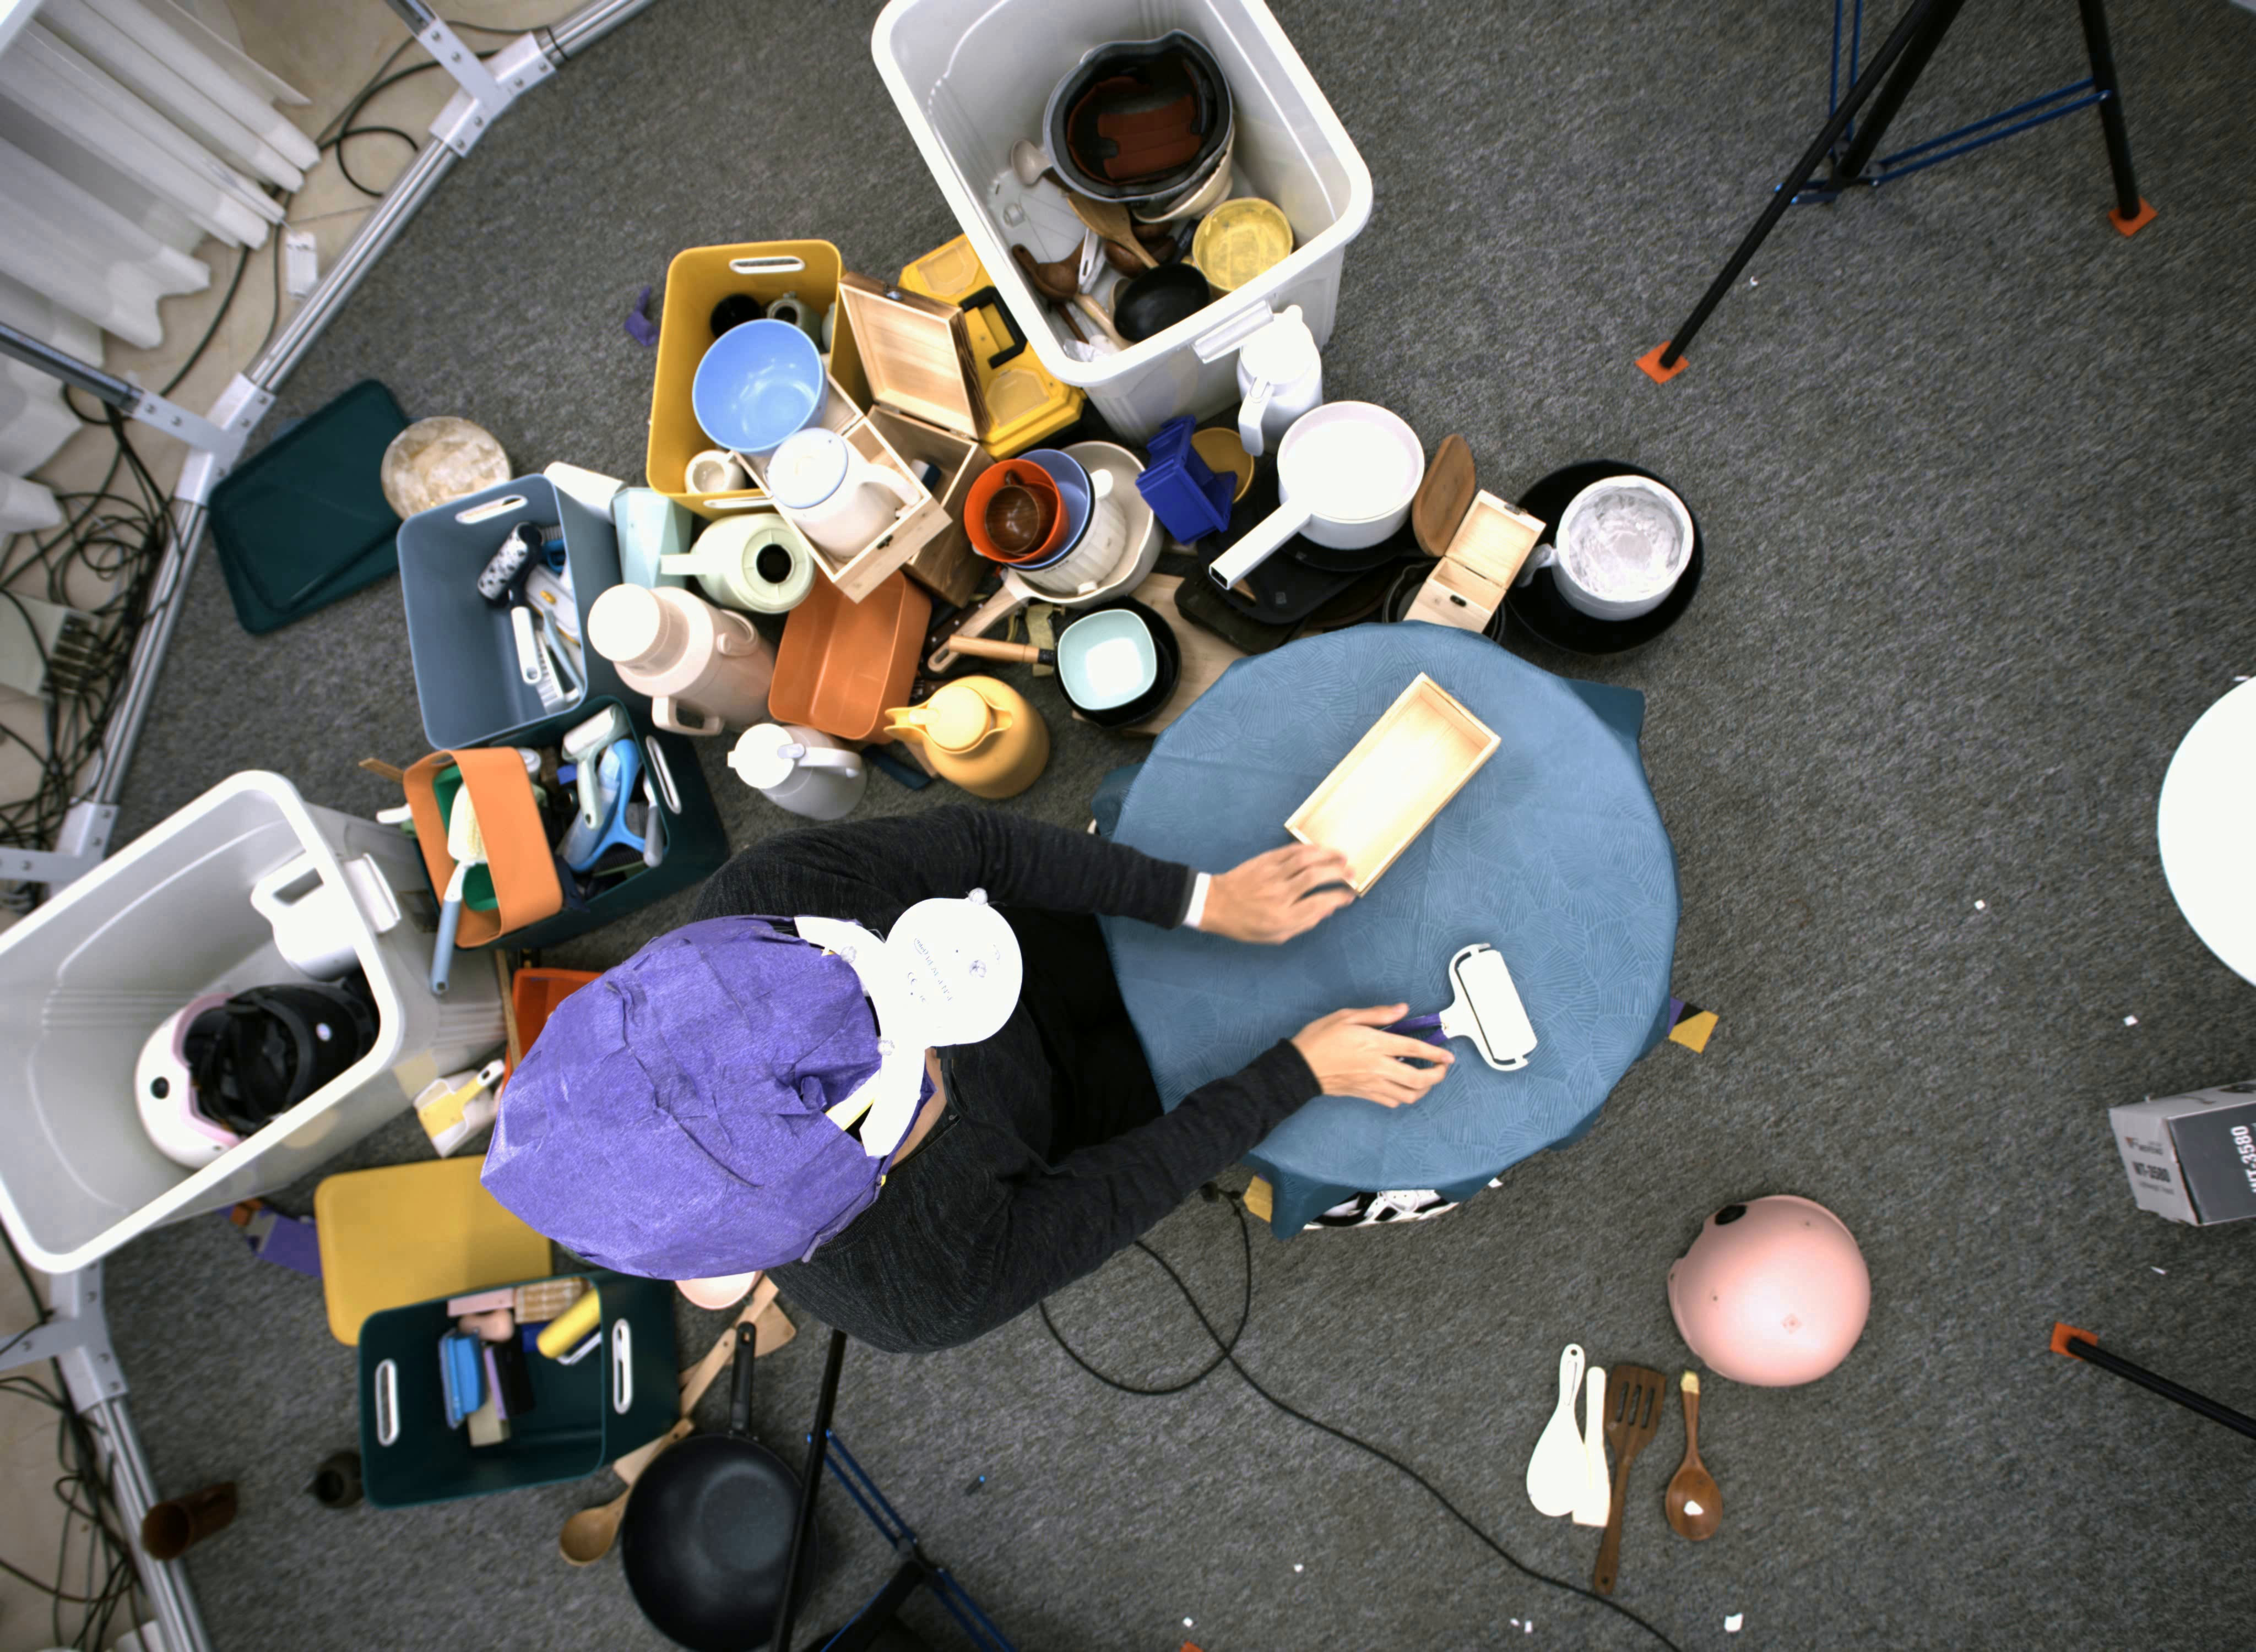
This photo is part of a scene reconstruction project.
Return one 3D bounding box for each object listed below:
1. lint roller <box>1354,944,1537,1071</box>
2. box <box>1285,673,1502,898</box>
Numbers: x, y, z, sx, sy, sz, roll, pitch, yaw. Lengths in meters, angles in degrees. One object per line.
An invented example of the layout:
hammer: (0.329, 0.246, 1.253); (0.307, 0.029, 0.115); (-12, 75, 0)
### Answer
lint roller: (0.317, 0.205, 1.420); (0.181, 0.050, 0.132); (-21, 84, 7)
box: (0.273, -0.041, 1.426); (0.107, 0.080, 0.212); (42, 95, 10)
